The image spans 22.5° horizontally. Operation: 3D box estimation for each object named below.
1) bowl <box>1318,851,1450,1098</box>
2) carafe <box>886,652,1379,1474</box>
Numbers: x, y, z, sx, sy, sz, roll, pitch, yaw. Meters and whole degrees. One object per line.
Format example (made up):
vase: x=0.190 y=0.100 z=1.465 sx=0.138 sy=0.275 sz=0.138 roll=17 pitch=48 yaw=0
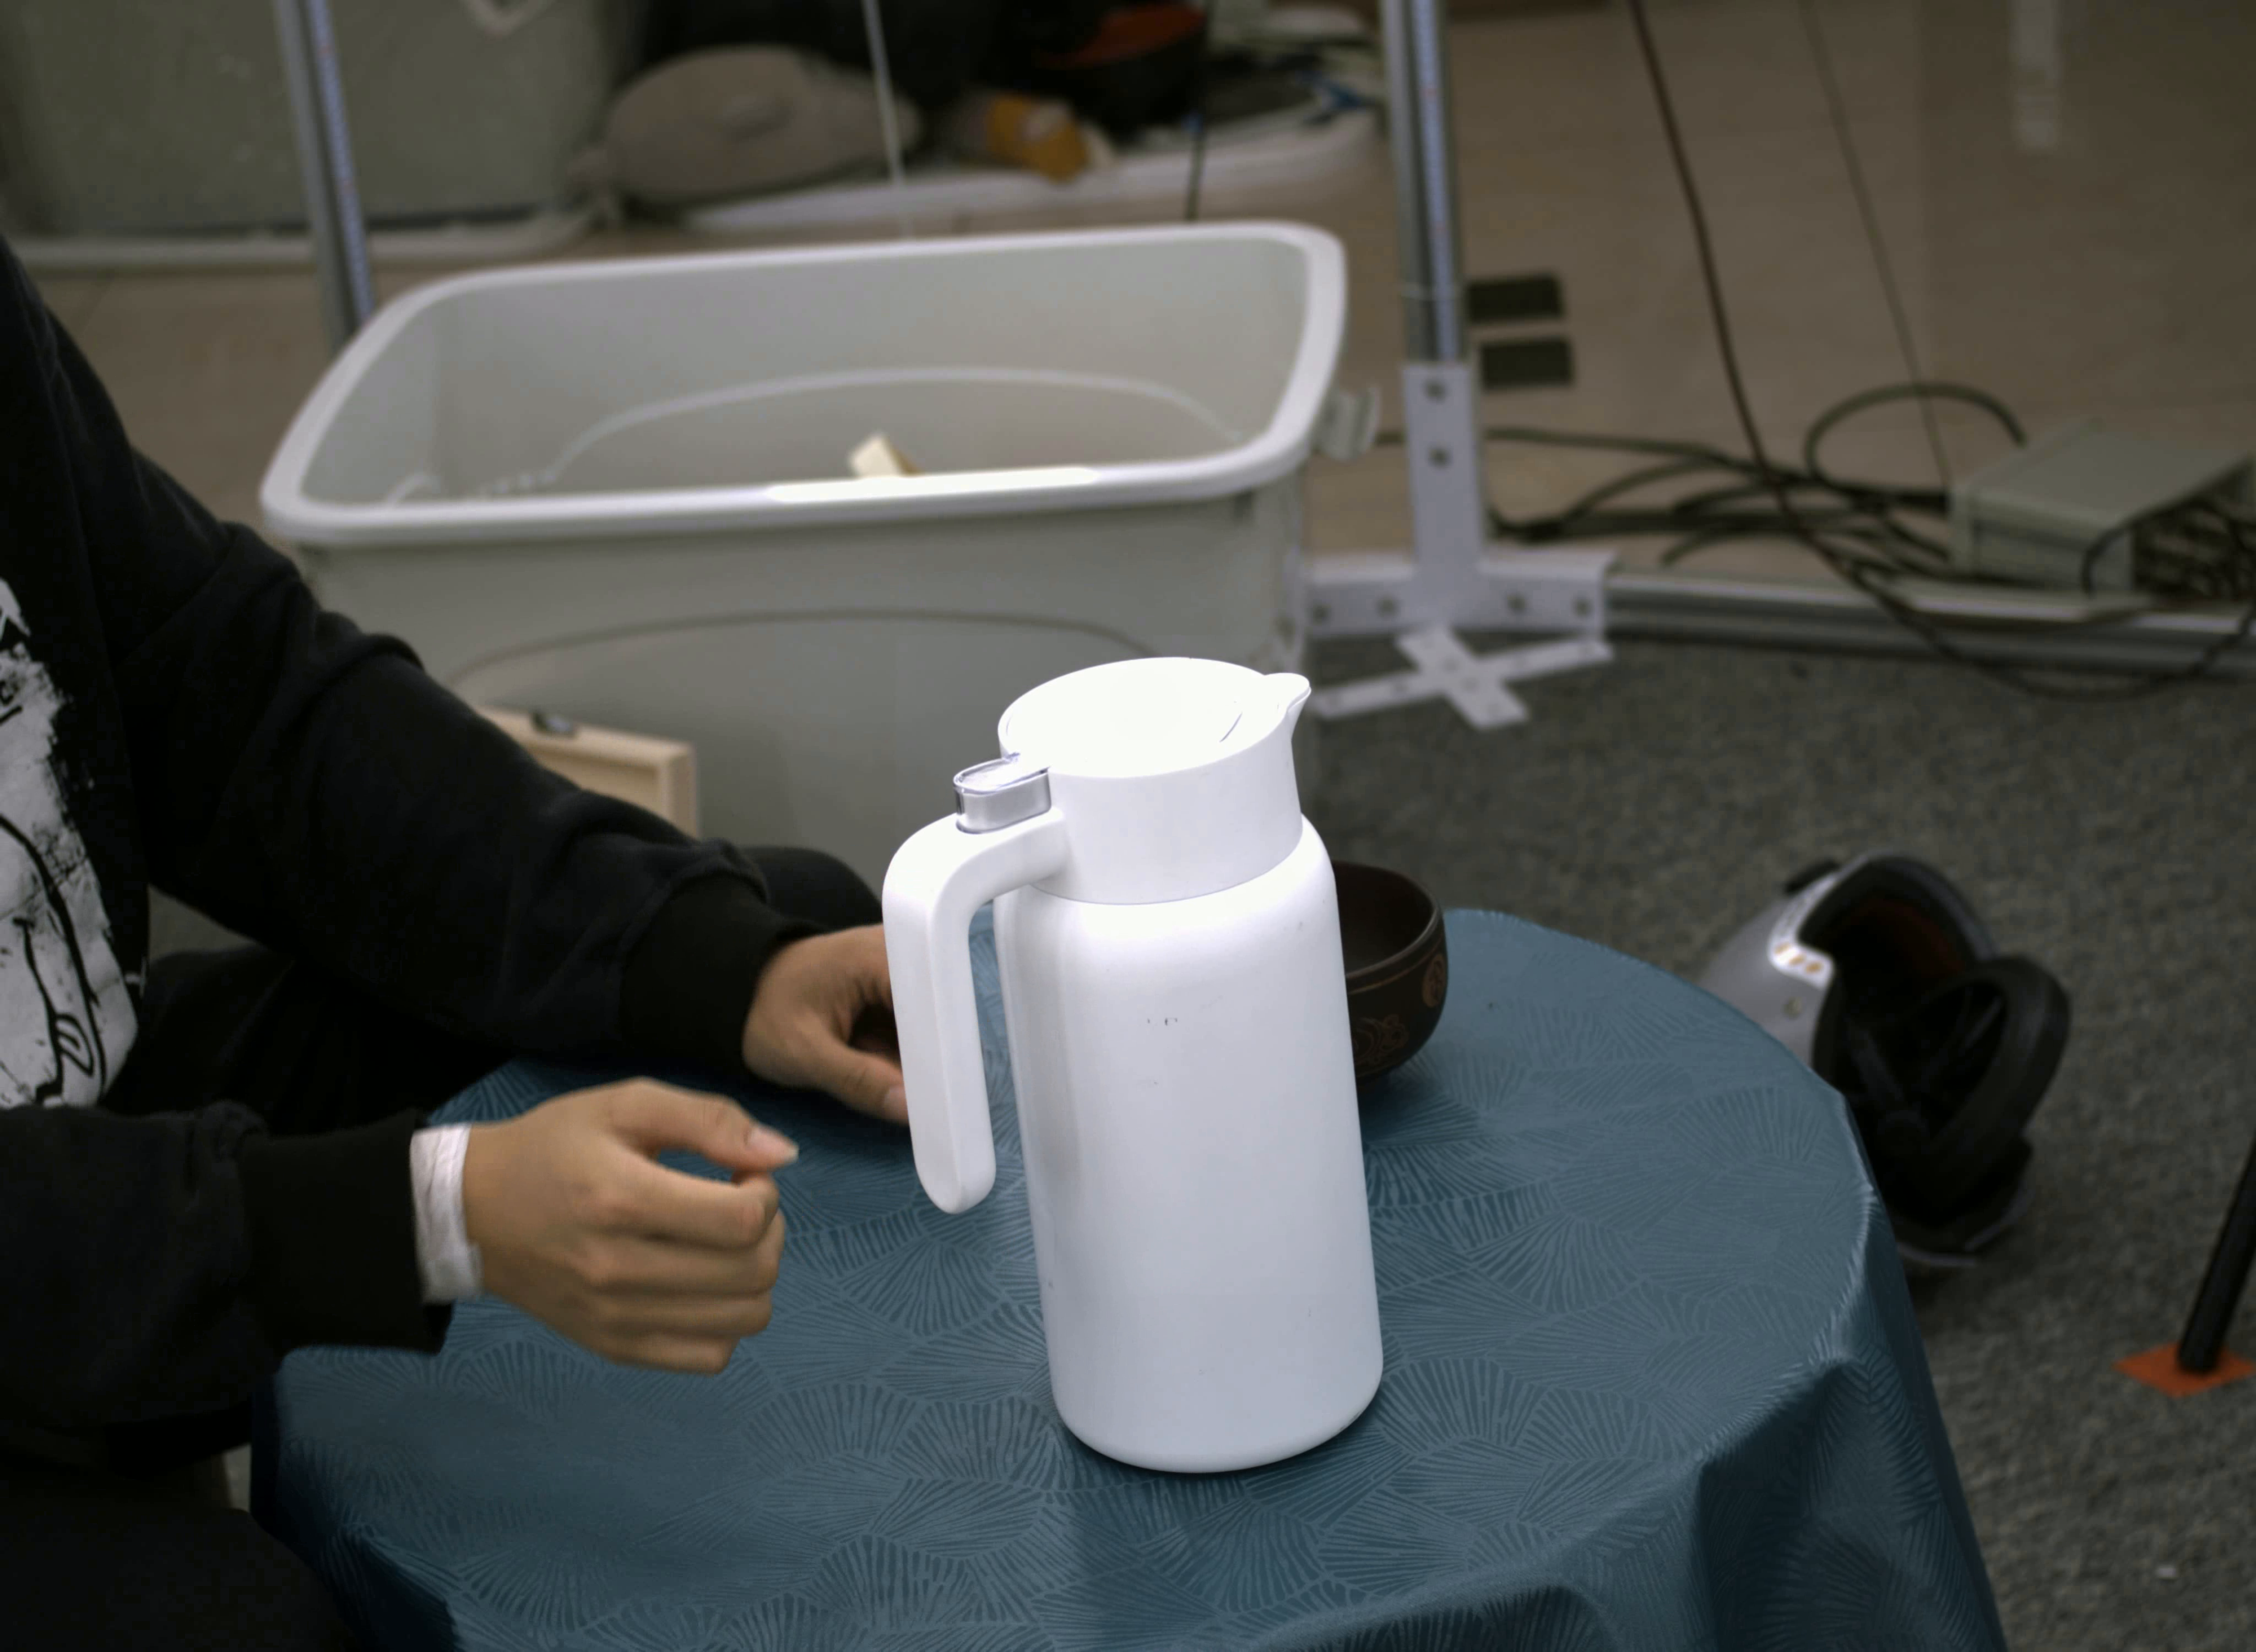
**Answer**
bowl: x=0.068 y=0.065 z=2.203 sx=0.118 sy=0.071 sz=0.116 roll=-6 pitch=26 yaw=3
carafe: x=0.005 y=0.088 z=1.937 sx=0.171 sy=0.273 sz=0.122 roll=-23 pitch=32 yaw=-31
